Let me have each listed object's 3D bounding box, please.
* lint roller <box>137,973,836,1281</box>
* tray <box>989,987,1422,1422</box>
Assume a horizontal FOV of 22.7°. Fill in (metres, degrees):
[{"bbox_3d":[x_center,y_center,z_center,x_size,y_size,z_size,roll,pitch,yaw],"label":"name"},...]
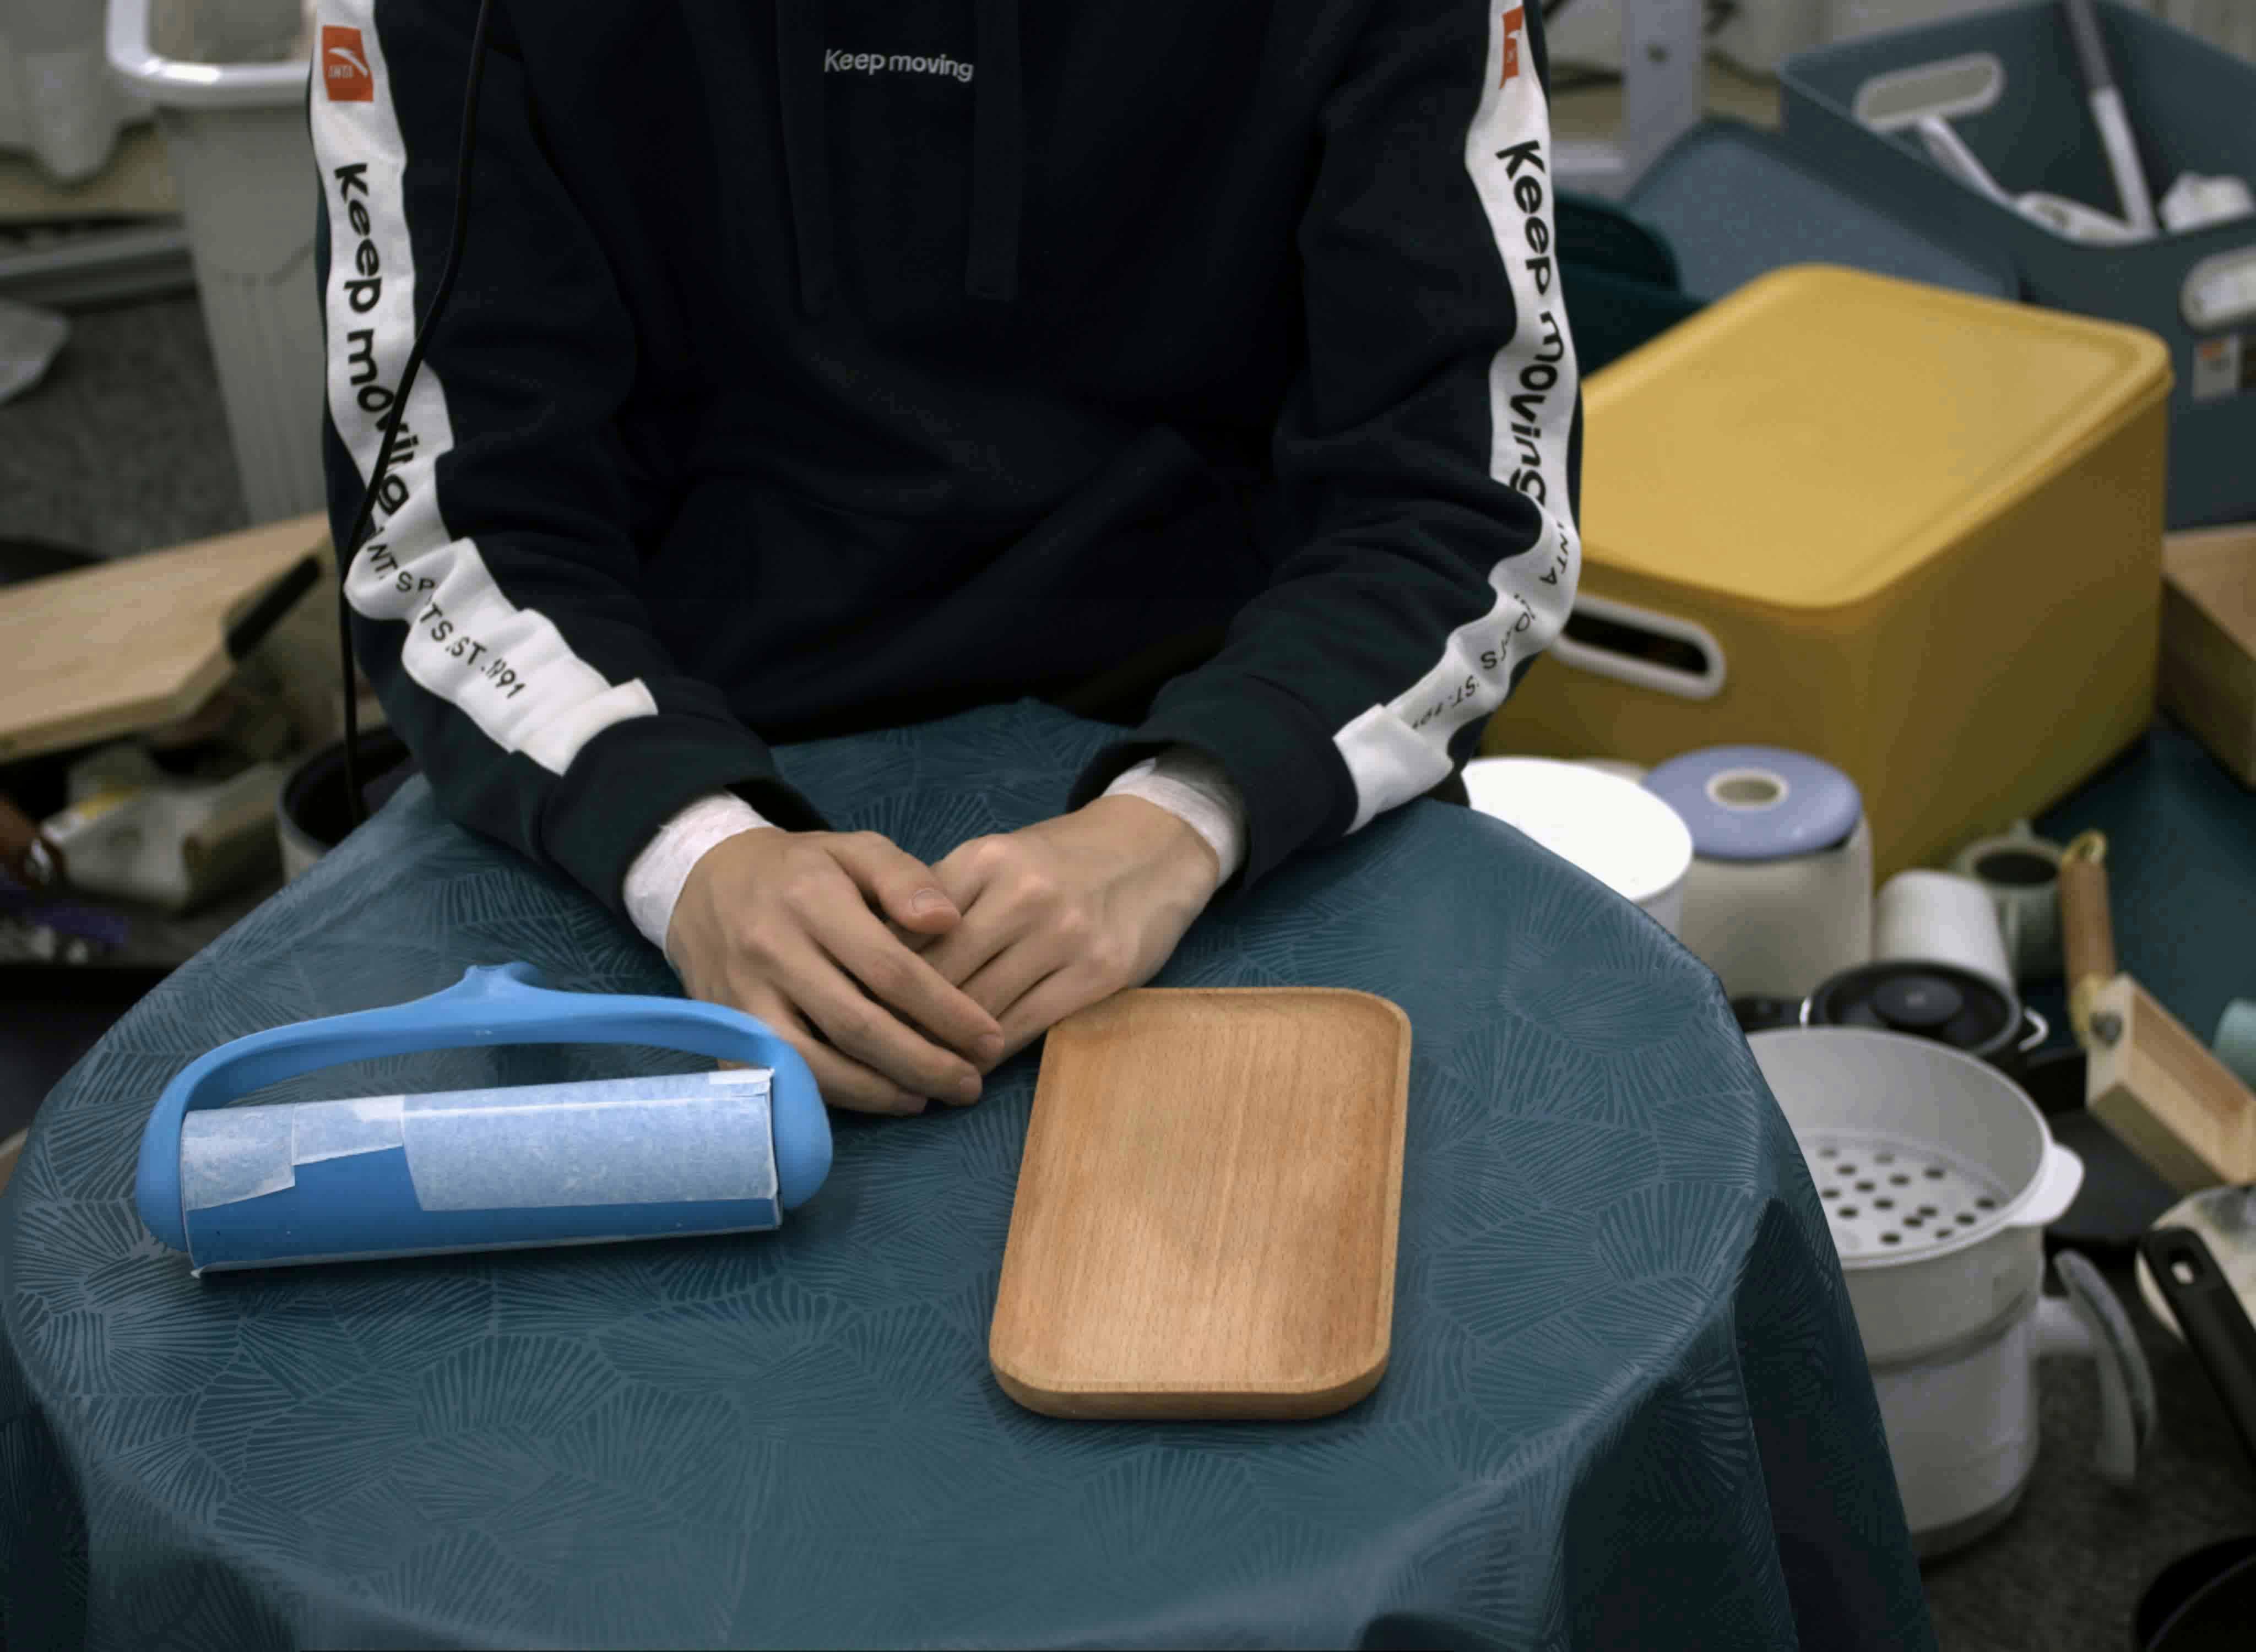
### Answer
[{"bbox_3d":[-0.216,0.085,1.890,0.228,0.067,0.183,-7,29,-4],"label":"lint roller"},{"bbox_3d":[0.028,0.121,1.840,0.130,0.022,0.255,2,27,5],"label":"tray"}]
